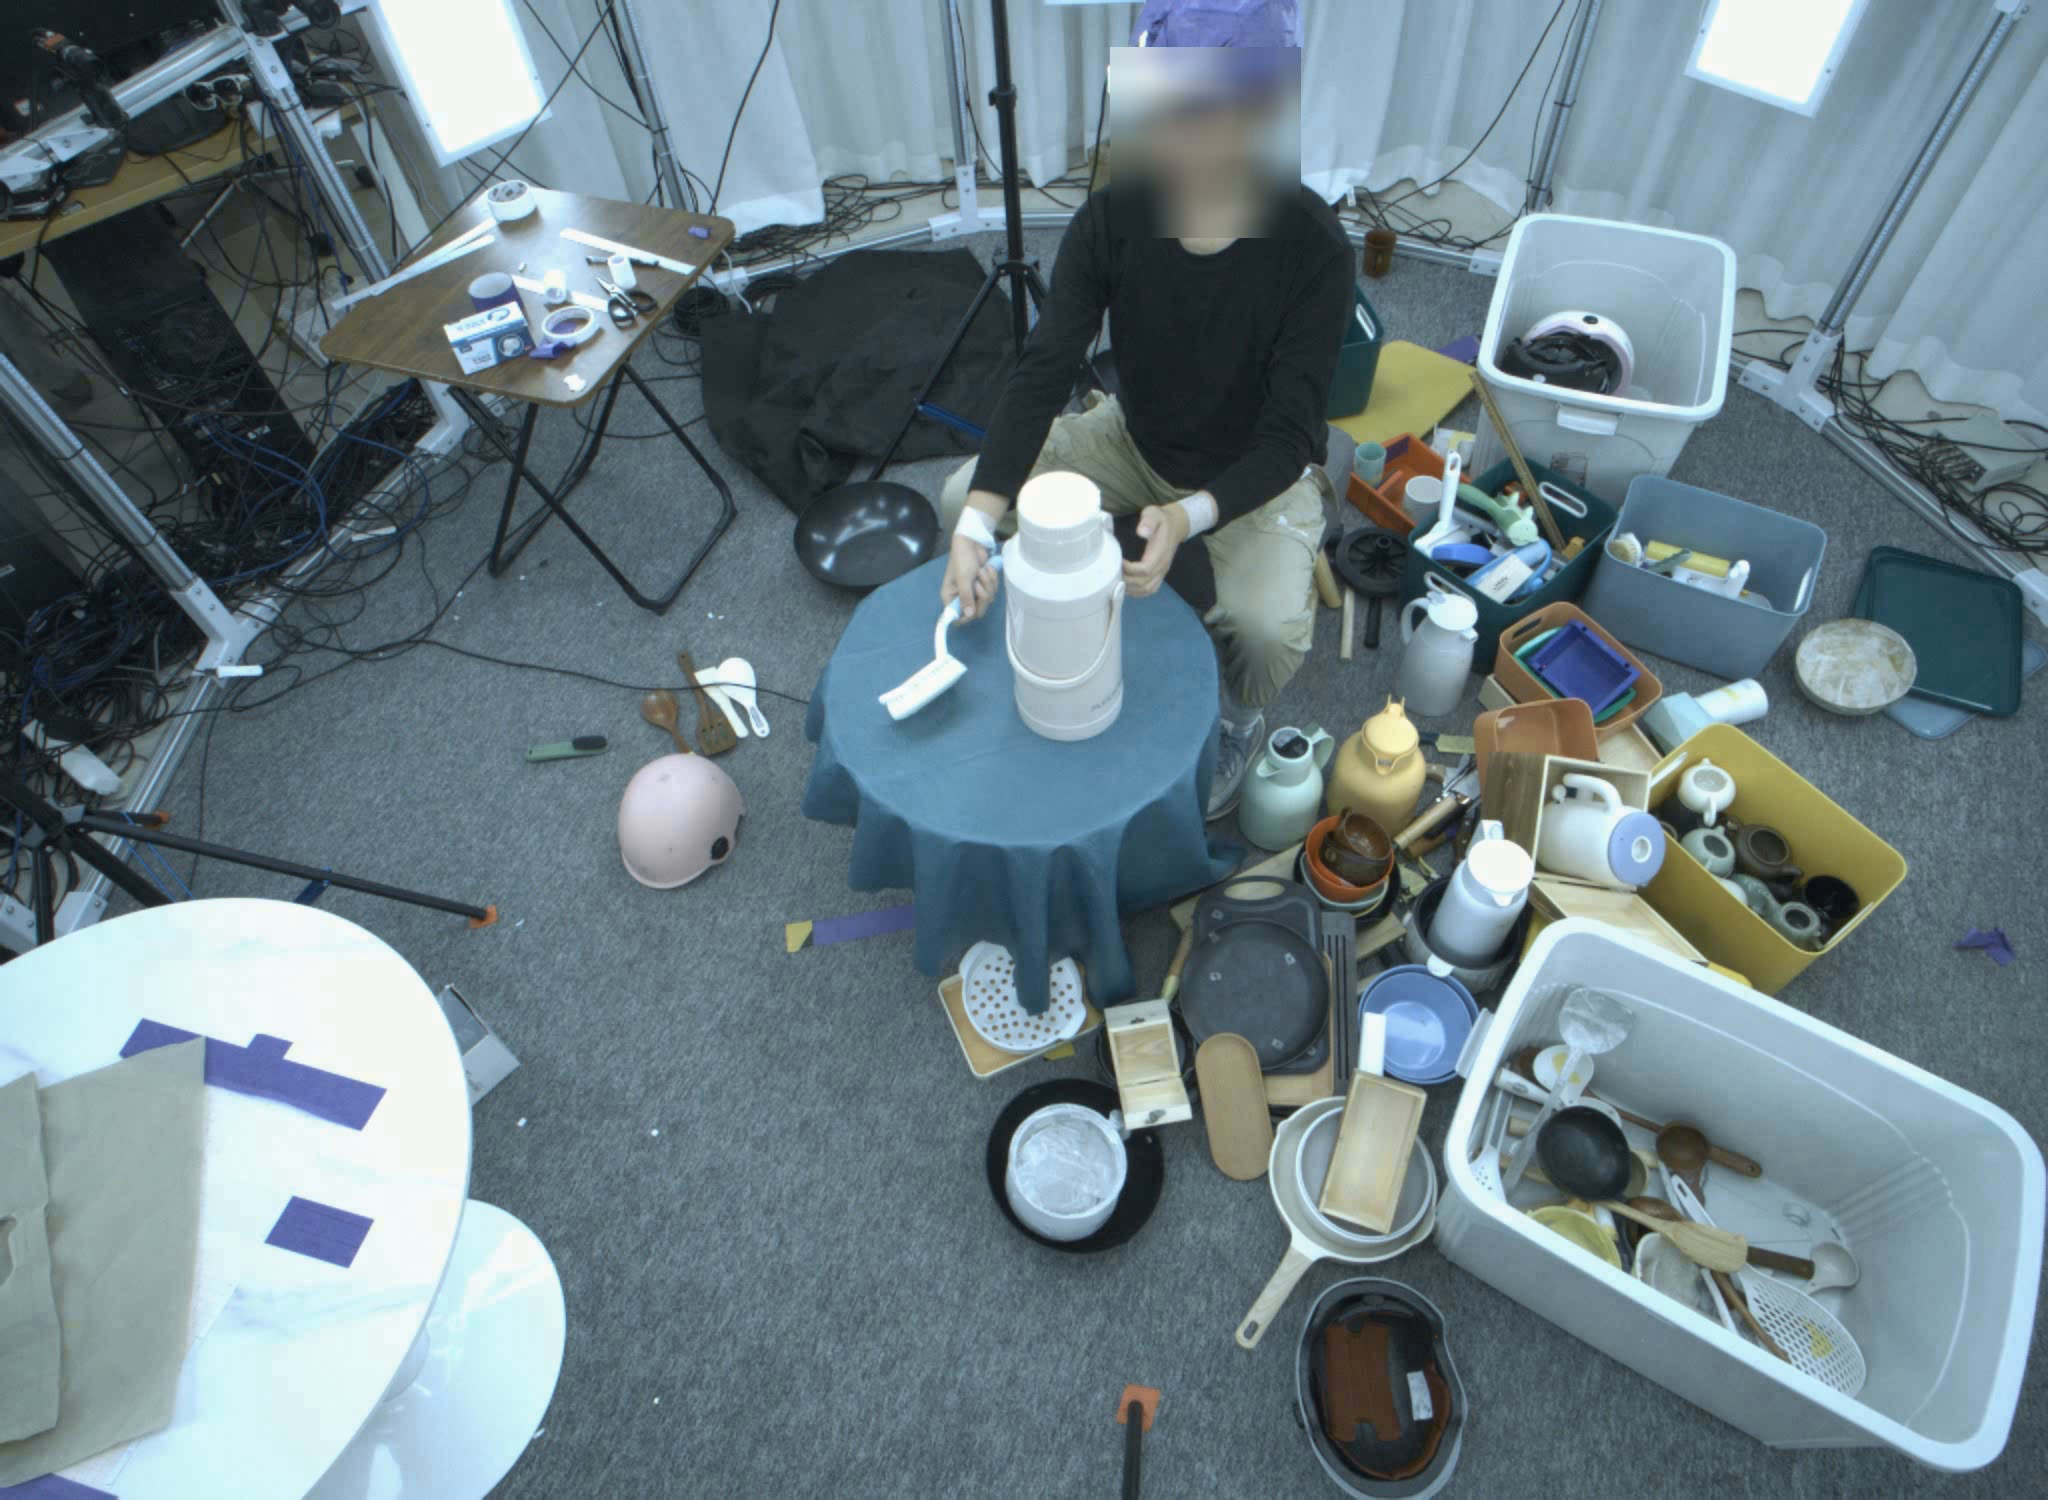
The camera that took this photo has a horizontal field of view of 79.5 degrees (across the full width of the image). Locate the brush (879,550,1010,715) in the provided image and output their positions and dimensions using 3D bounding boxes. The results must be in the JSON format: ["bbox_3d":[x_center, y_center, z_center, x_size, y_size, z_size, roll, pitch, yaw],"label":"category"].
[{"bbox_3d":[-0.090,-0.170,1.839,0.081,0.086,0.326,17,60,43],"label":"brush"}]

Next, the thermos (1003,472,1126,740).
[{"bbox_3d":[0.066,-0.202,1.684,0.173,0.411,0.207,23,60,20],"label":"thermos"}]
